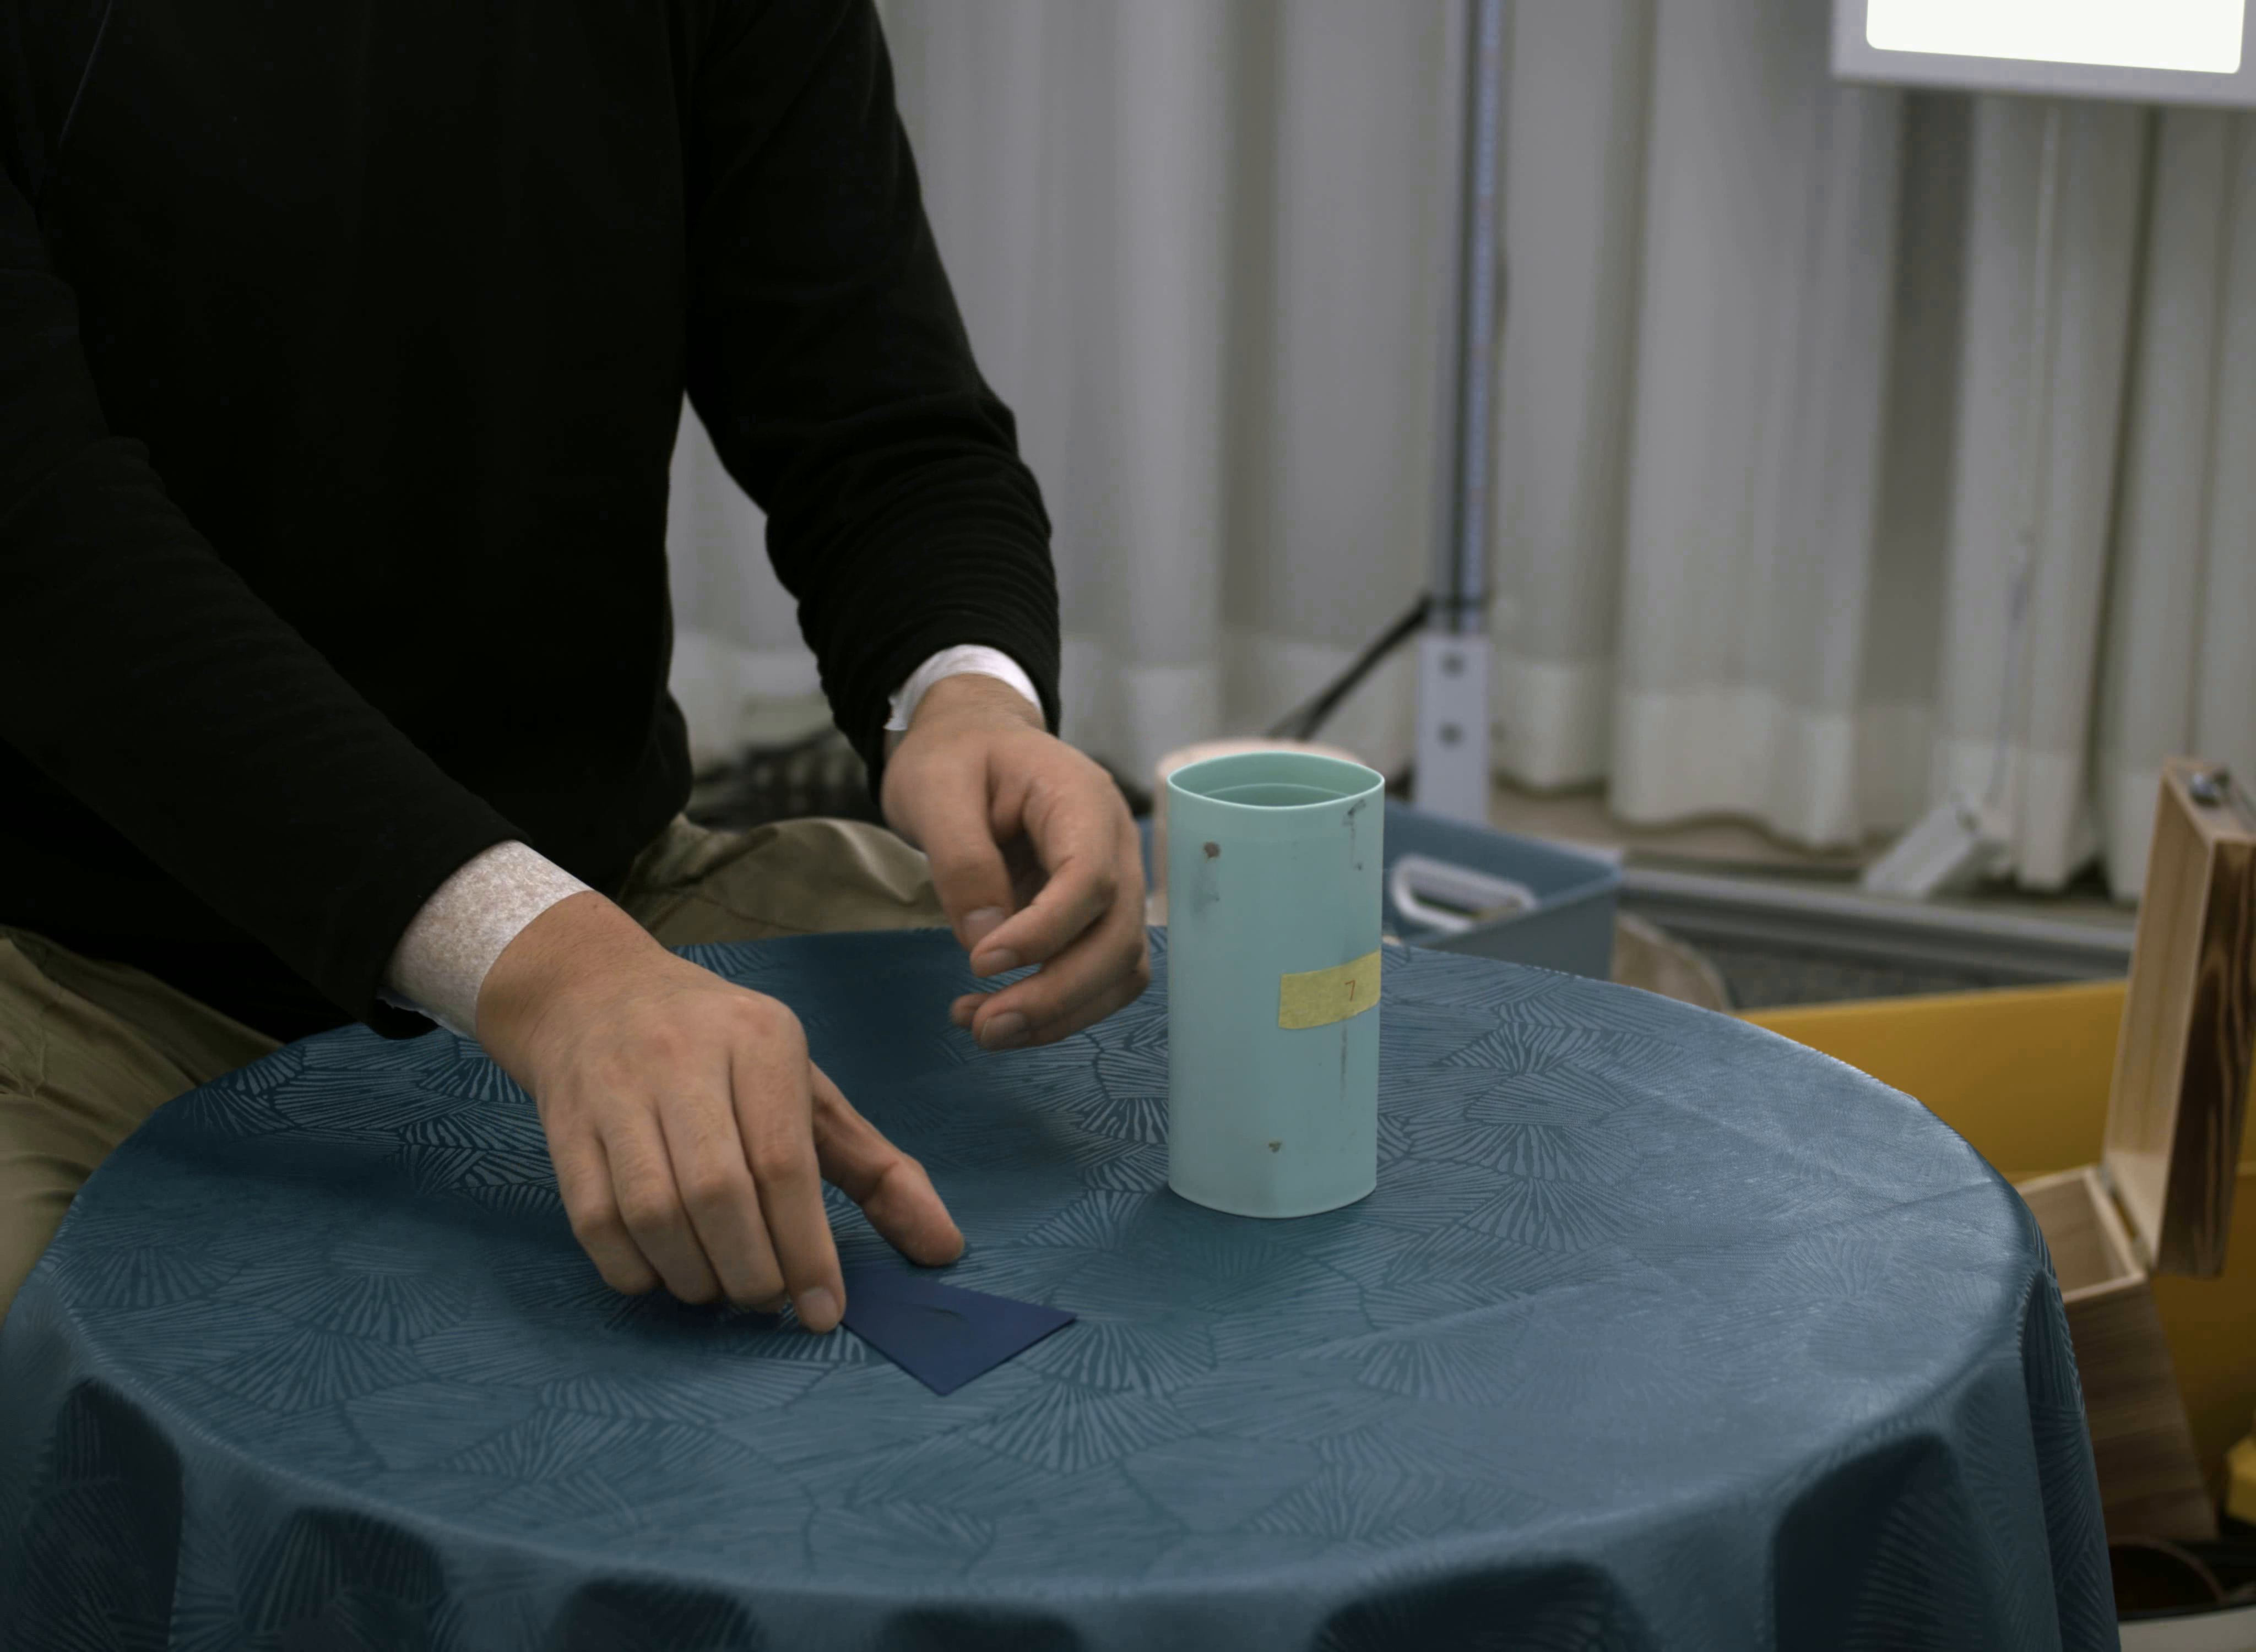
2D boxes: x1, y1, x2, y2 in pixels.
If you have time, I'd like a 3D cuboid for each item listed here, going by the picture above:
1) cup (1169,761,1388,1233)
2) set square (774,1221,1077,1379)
[{"bbox_3d":[0.044,0.051,1.611,0.066,0.133,0.066,0,17,0],"label":"cup"},{"bbox_3d":[-0.057,0.132,1.536,0.061,0.006,0.130,-10,18,-23],"label":"set square"}]
